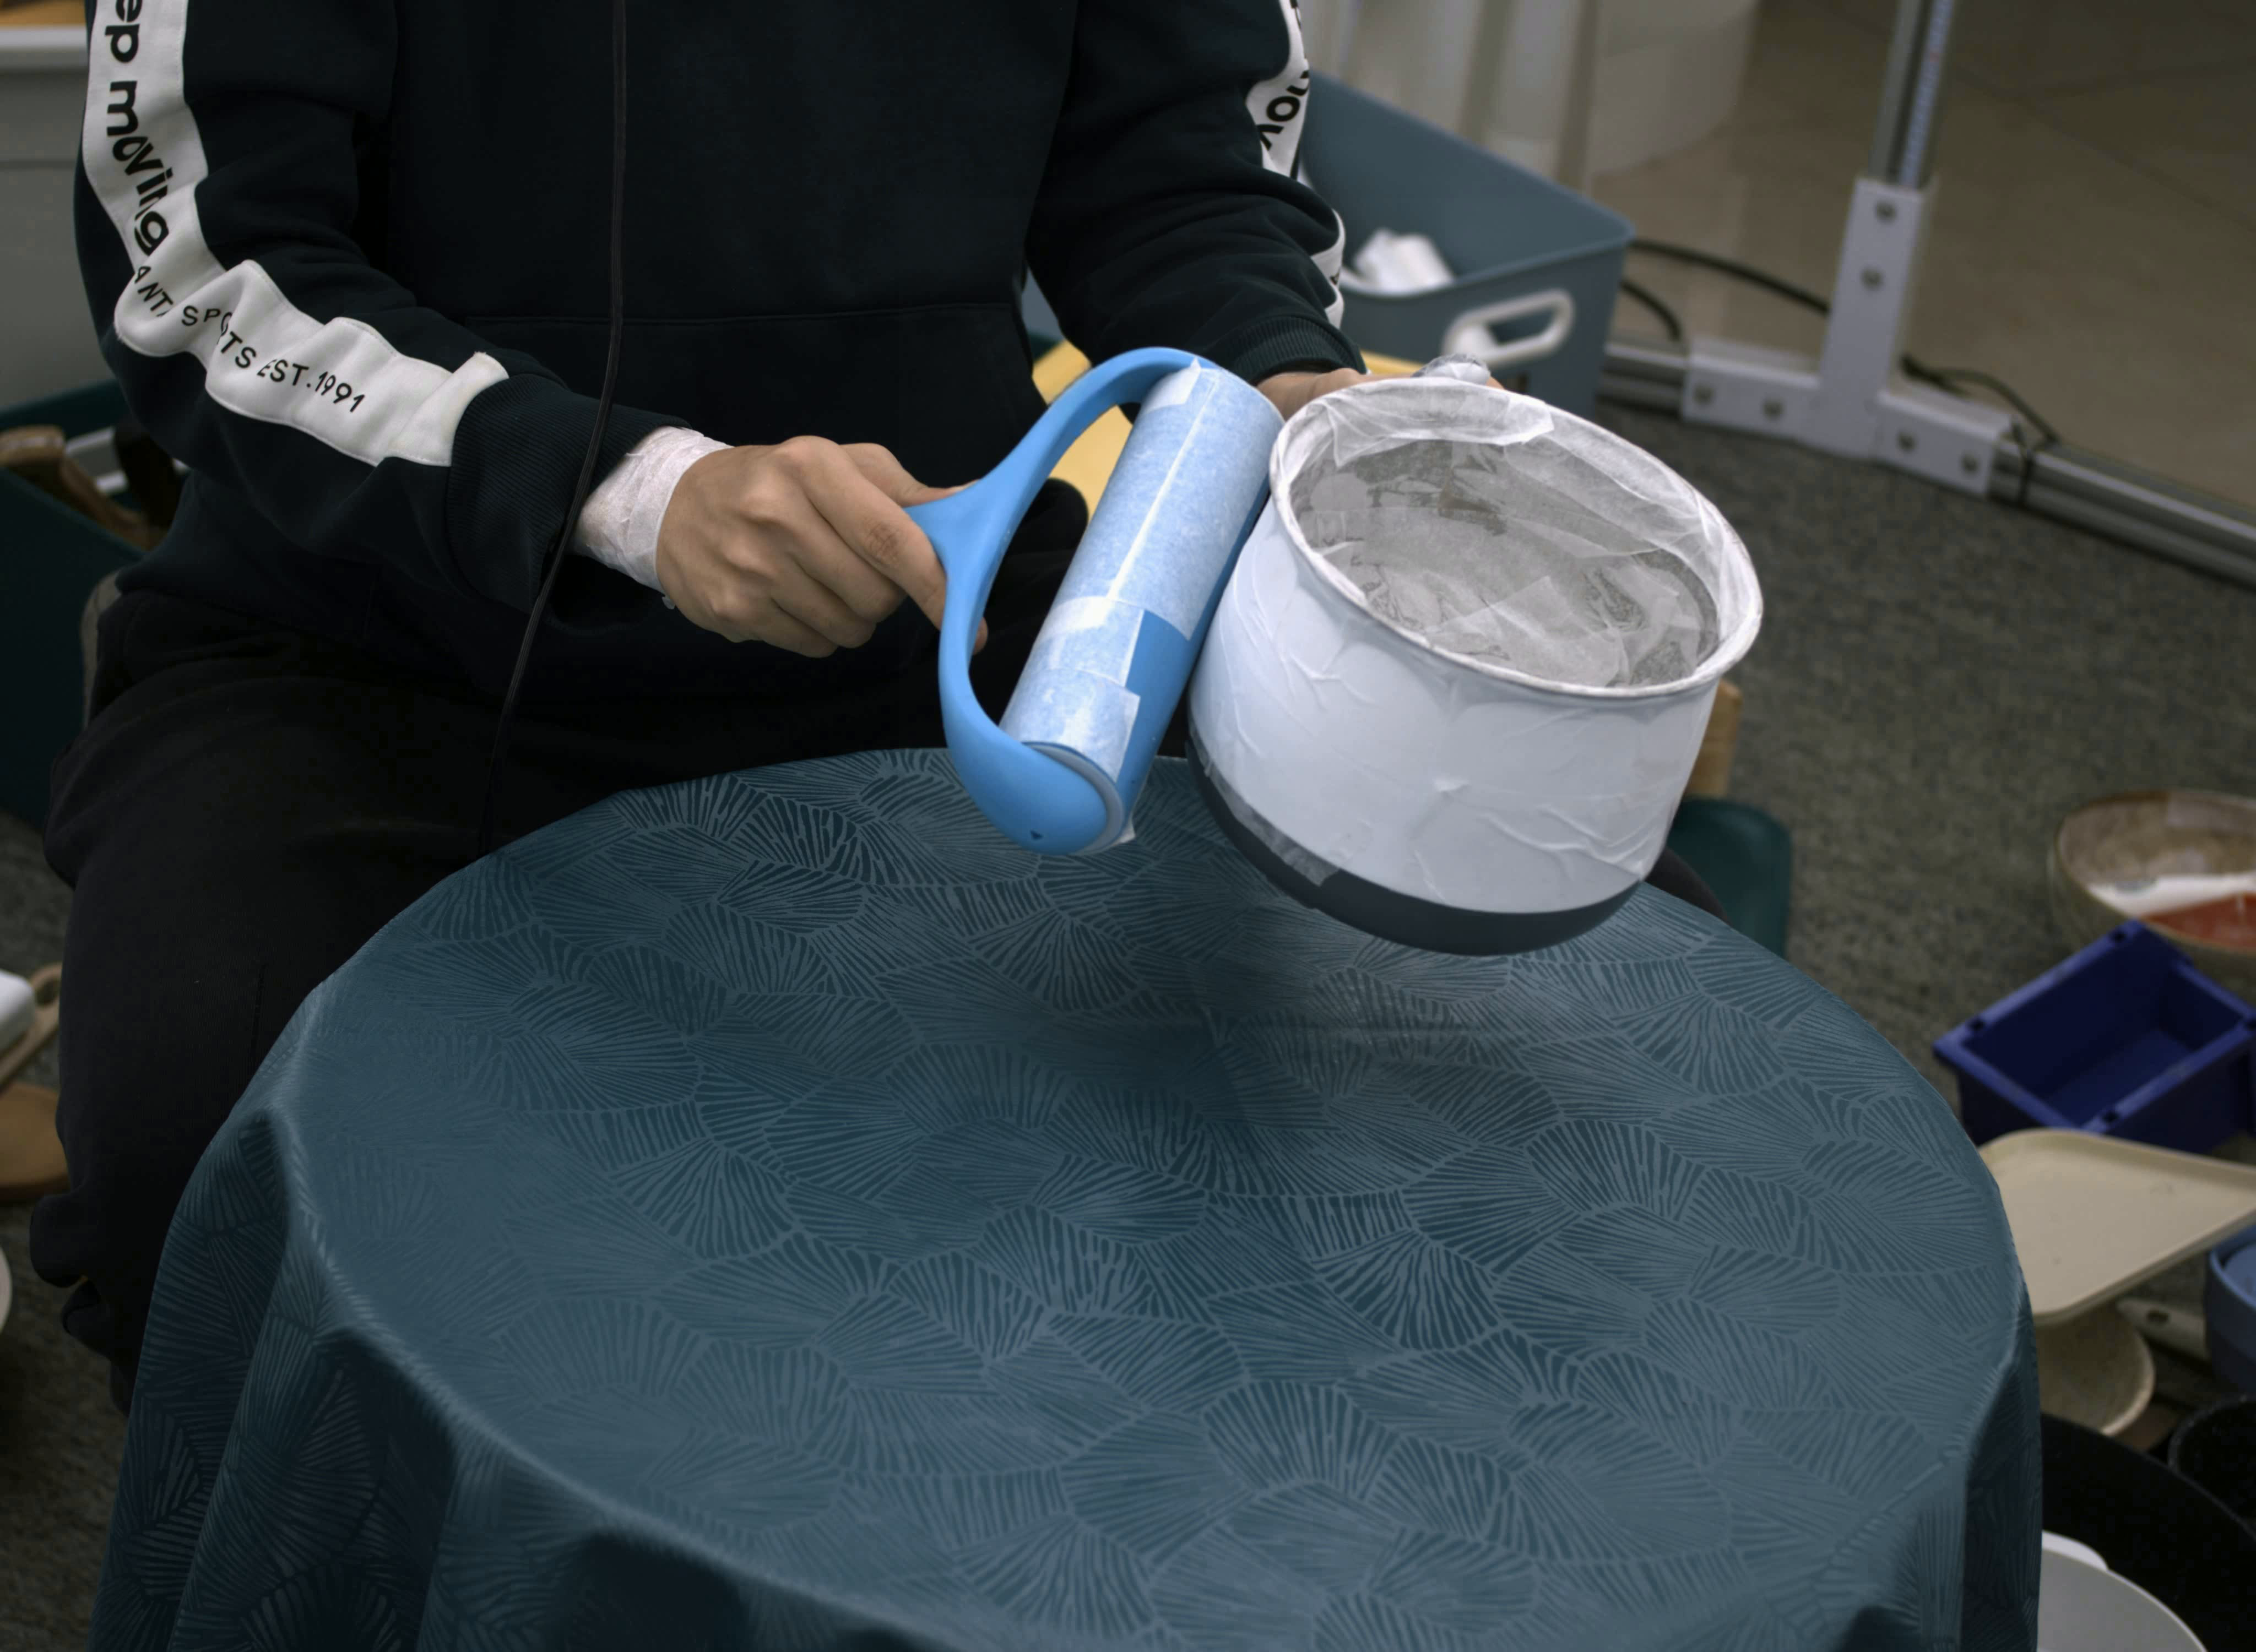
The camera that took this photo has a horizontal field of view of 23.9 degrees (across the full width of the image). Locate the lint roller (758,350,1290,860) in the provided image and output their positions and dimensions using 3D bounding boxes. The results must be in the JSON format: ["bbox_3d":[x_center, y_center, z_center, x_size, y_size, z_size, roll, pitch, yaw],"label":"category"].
[{"bbox_3d":[-0.050,-0.082,1.871,0.180,0.067,0.230,5,48,15],"label":"lint roller"}]

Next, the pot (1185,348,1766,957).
[{"bbox_3d":[0.112,-0.070,1.861,0.177,0.136,0.236,8,38,-16],"label":"pot"}]
